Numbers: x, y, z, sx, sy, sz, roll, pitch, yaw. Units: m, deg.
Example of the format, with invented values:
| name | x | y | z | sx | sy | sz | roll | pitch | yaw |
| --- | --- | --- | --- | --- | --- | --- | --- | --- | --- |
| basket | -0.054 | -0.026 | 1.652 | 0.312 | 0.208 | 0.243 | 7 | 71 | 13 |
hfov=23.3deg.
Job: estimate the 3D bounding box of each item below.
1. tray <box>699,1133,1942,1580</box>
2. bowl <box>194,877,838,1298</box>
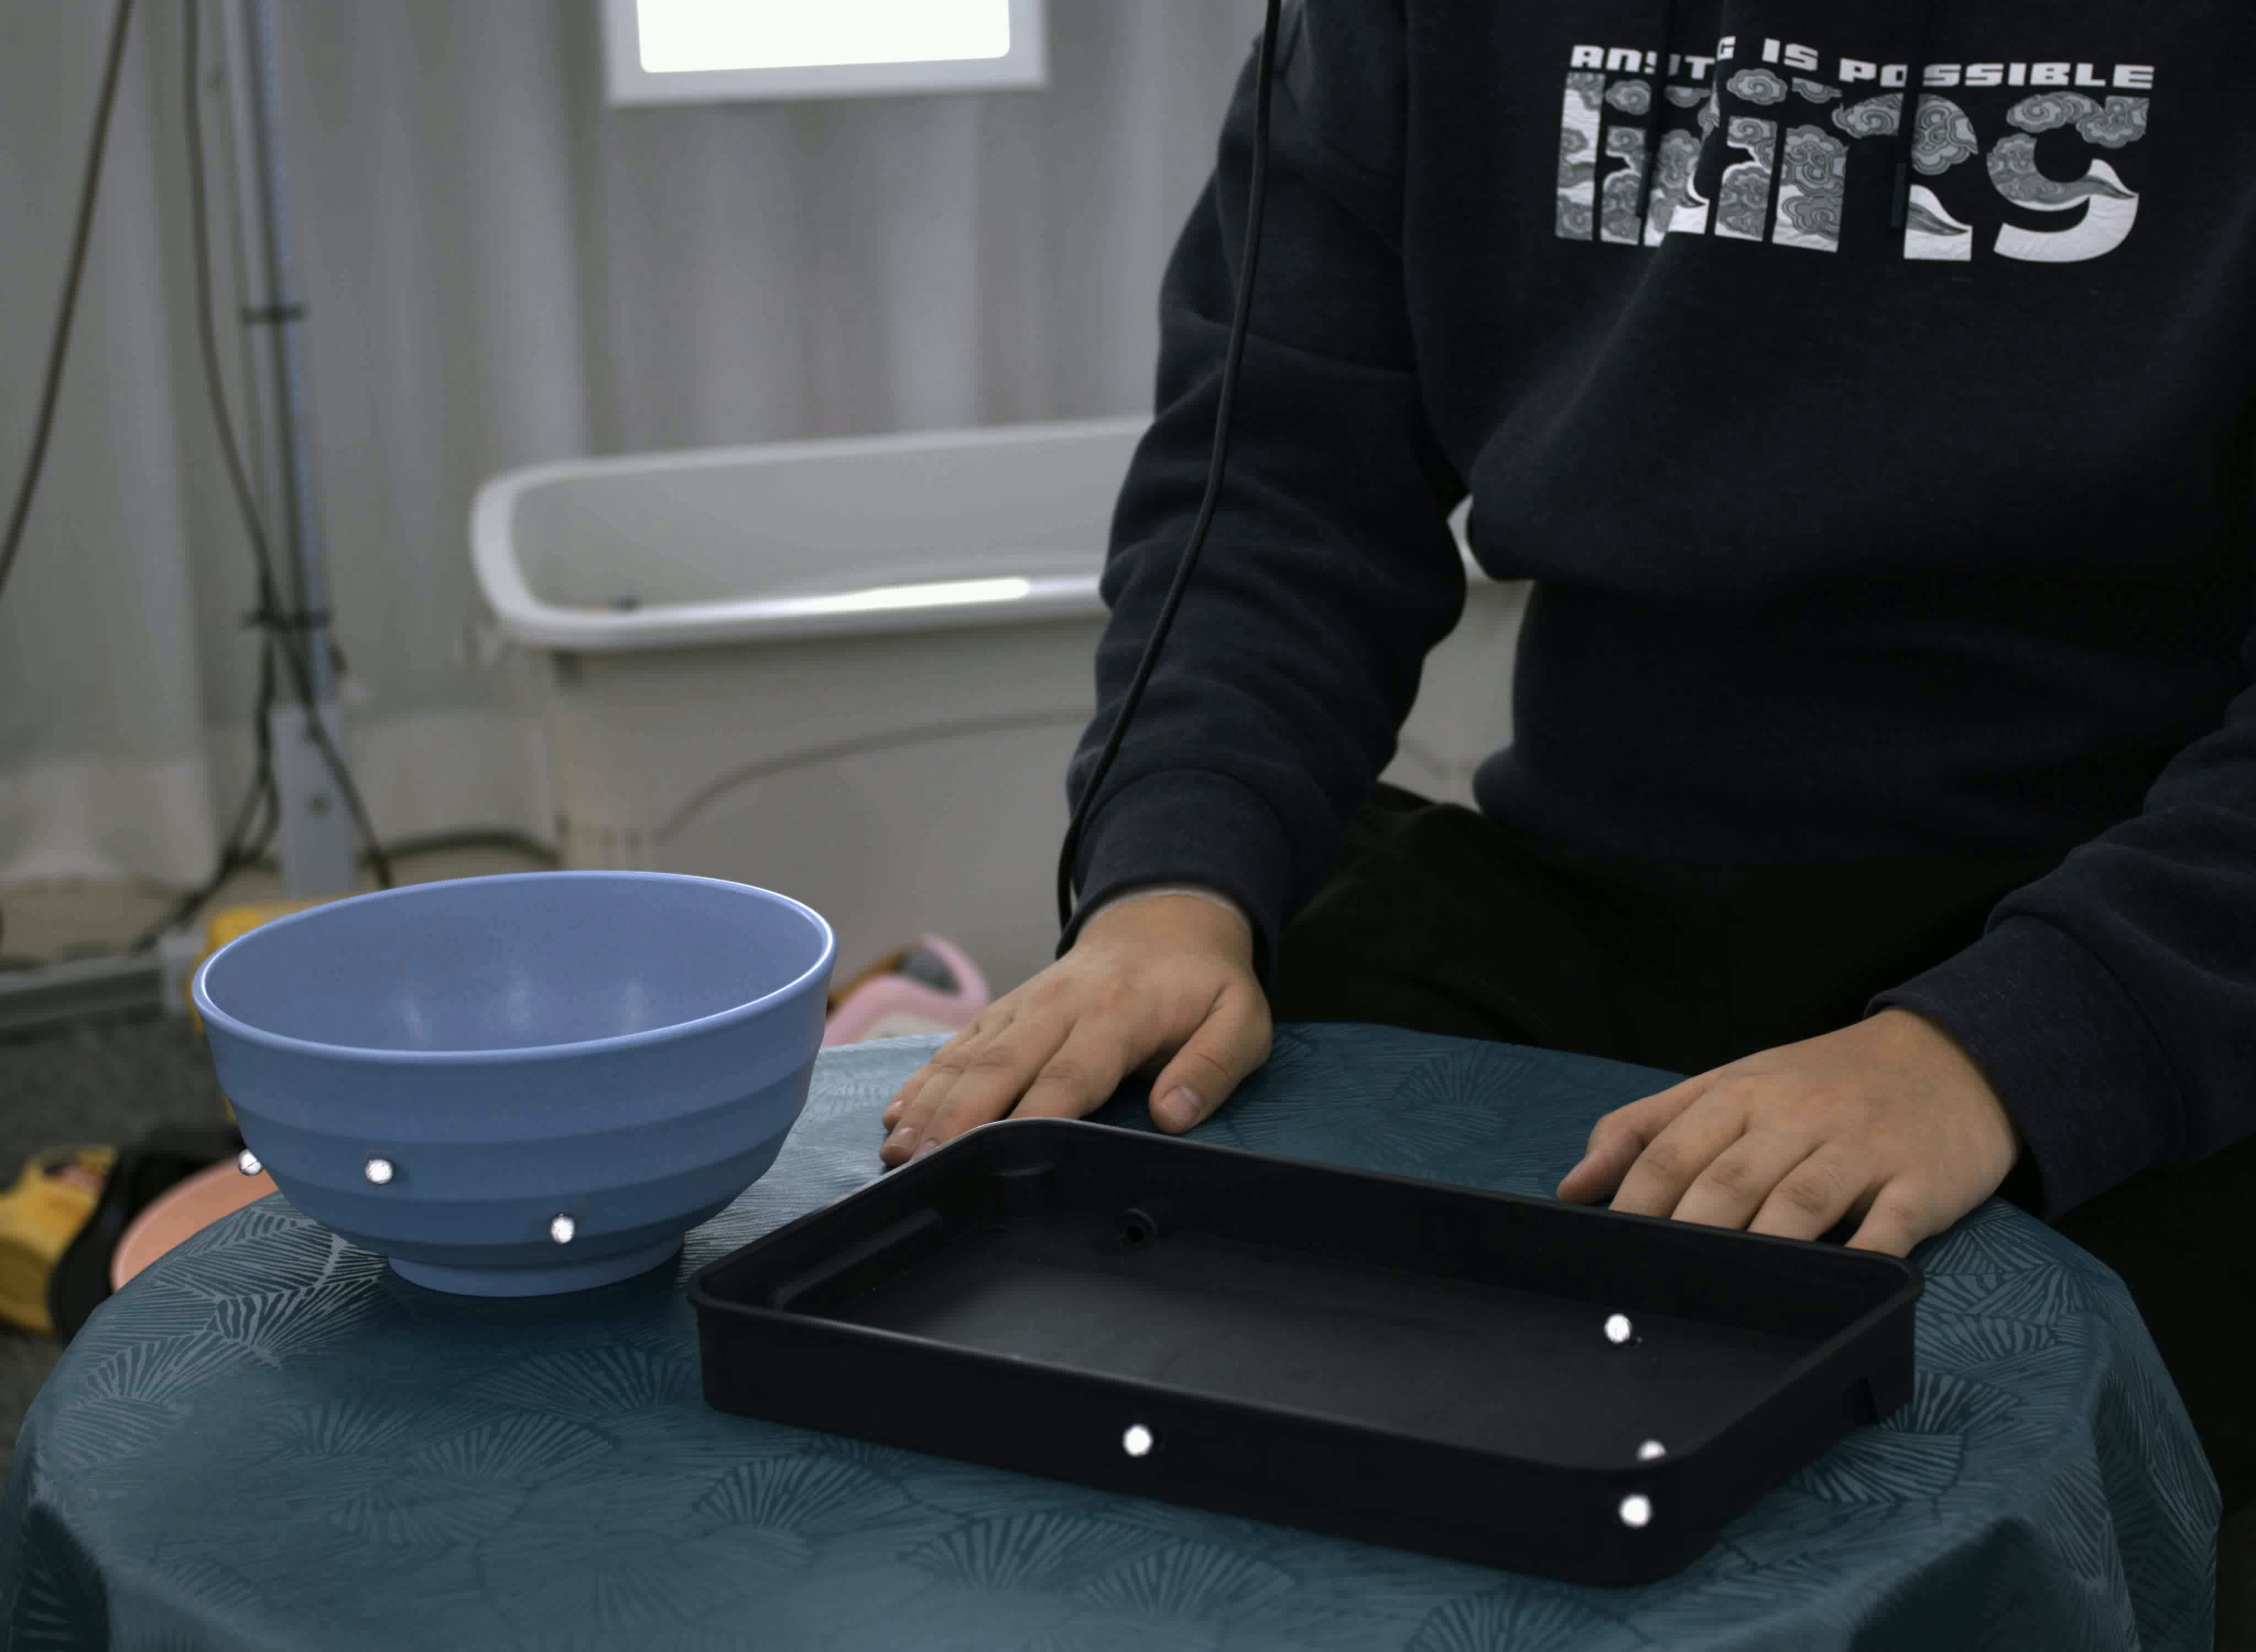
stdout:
| name | x | y | z | sx | sy | sz | roll | pitch | yaw |
| --- | --- | --- | --- | --- | --- | --- | --- | --- | --- |
| tray | 0.053 | 0.144 | 1.534 | 0.319 | 0.037 | 0.184 | 5 | 16 | 31 |
| bowl | -0.184 | 0.085 | 1.678 | 0.196 | 0.095 | 0.198 | -3 | 14 | 1 |
